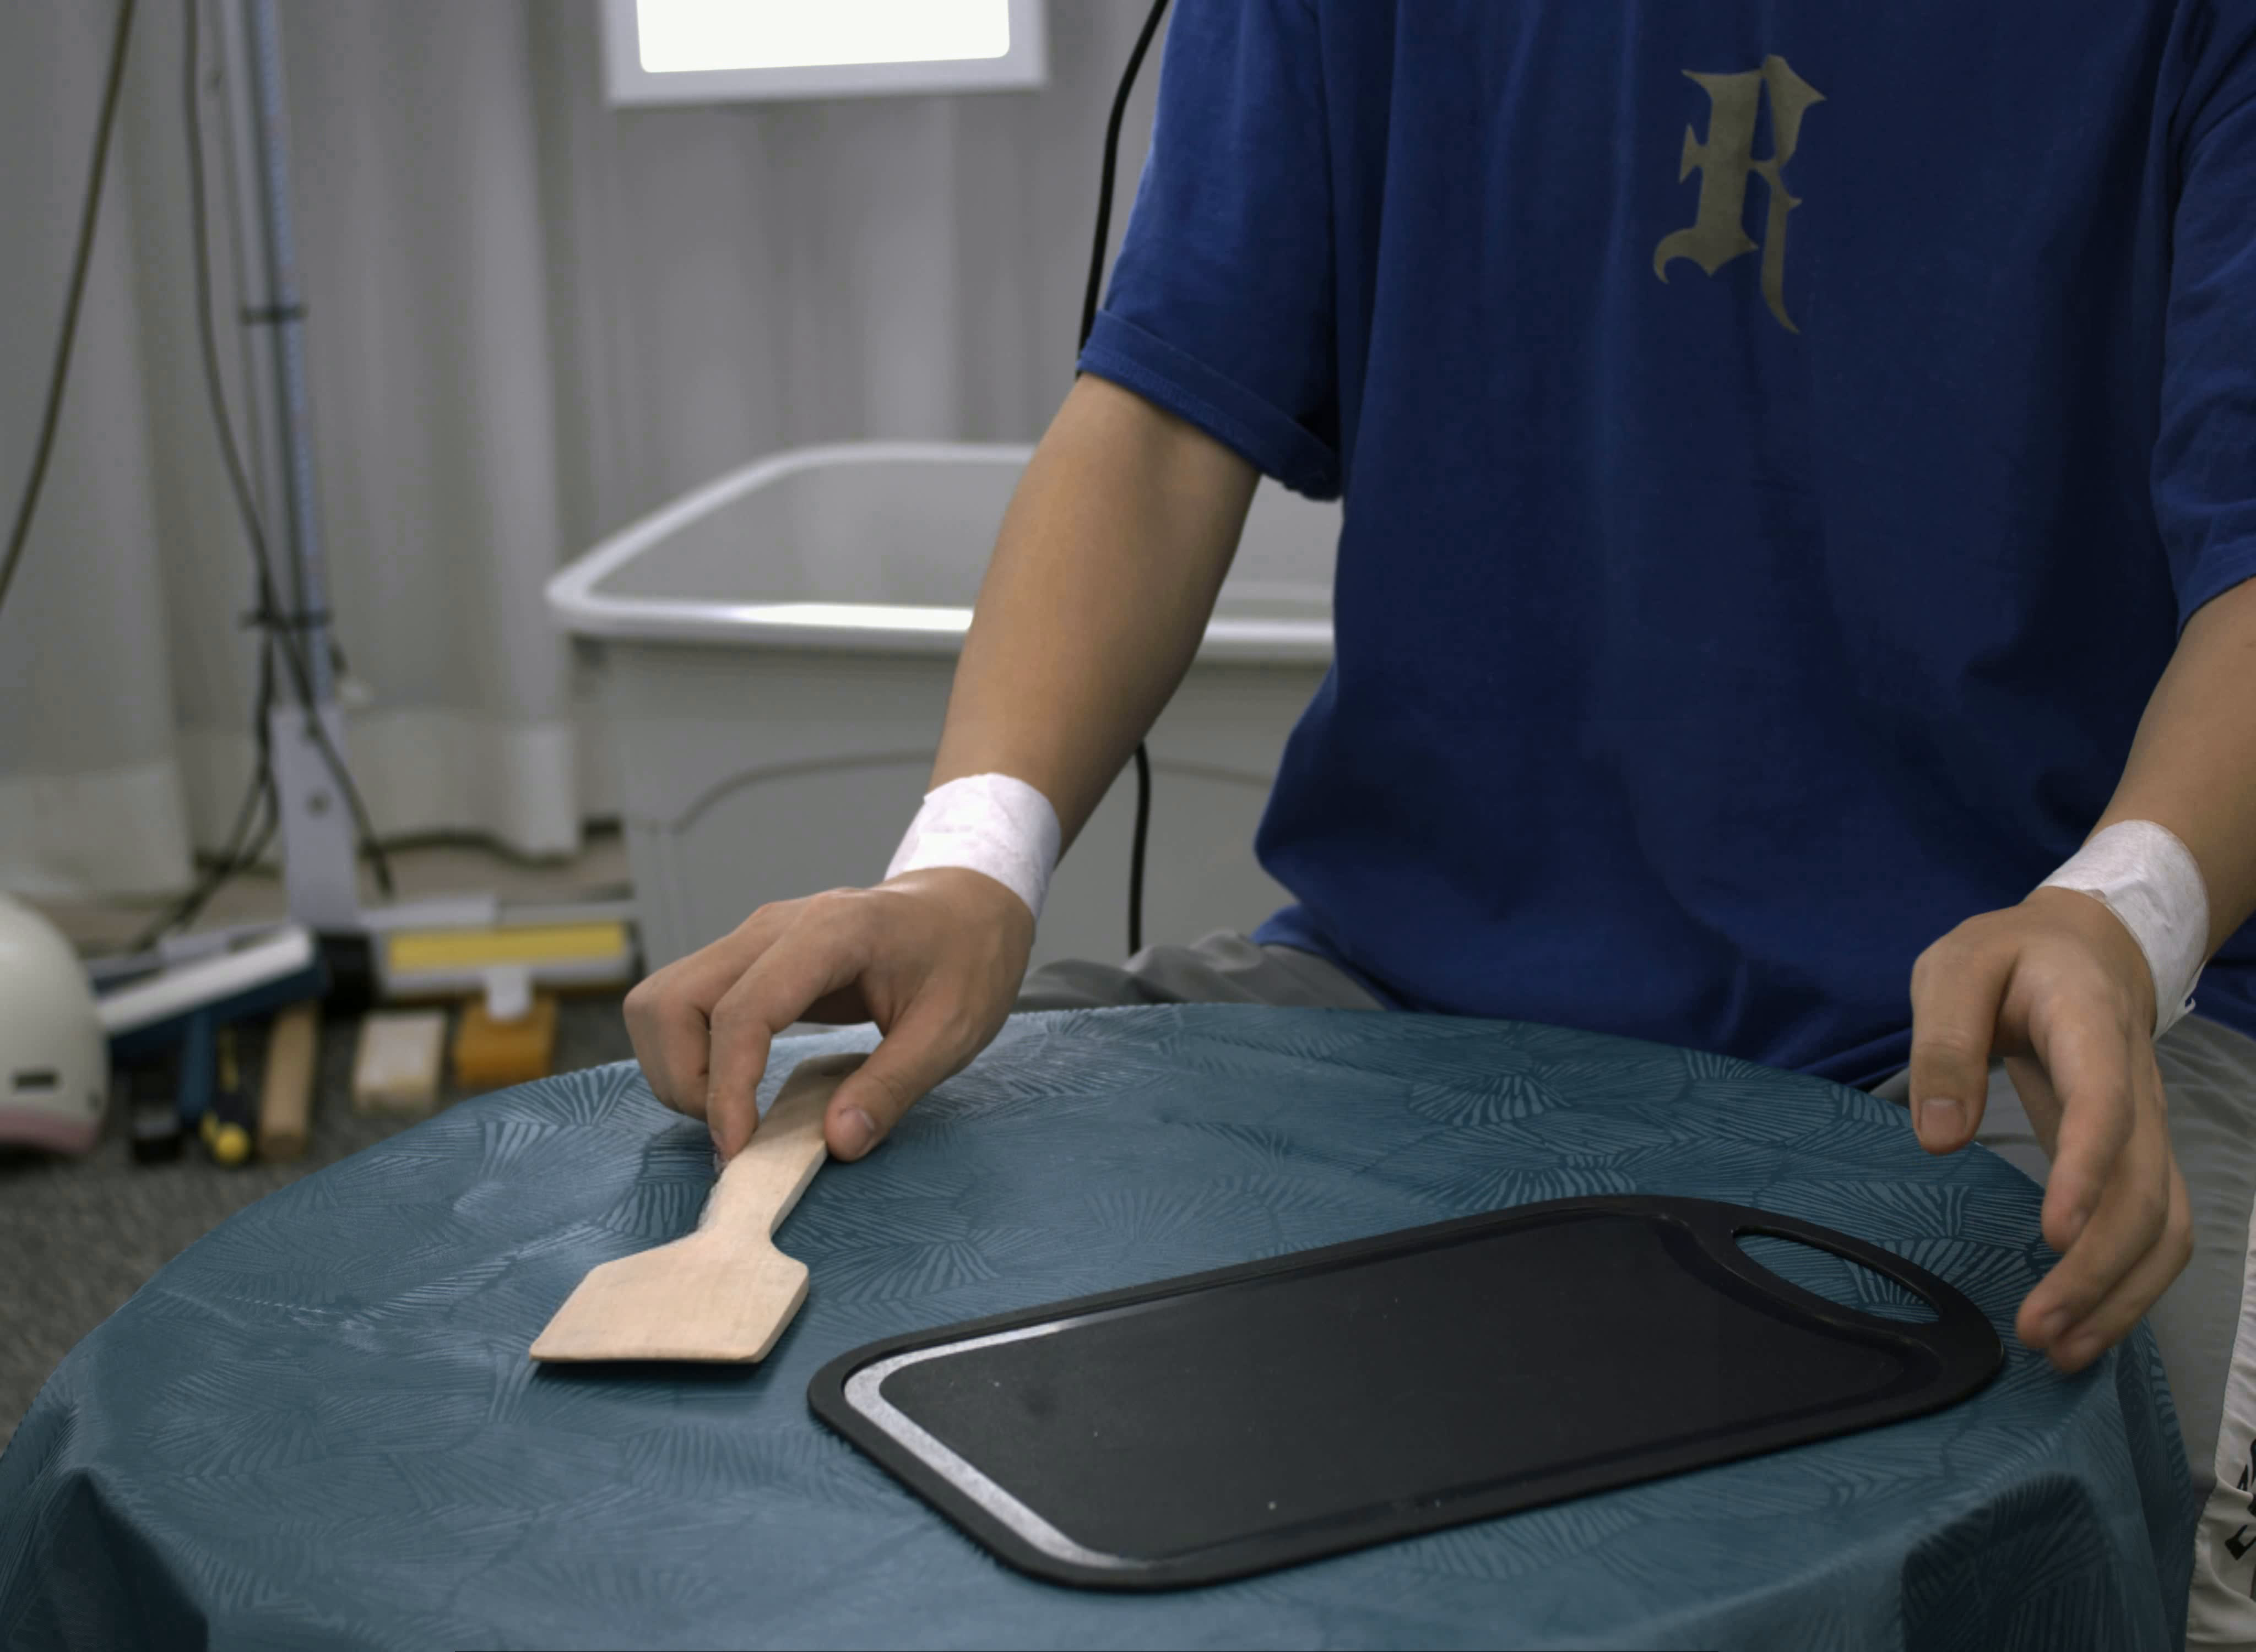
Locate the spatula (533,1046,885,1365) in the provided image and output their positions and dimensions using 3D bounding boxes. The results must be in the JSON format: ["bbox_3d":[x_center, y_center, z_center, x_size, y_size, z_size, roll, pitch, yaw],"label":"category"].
[{"bbox_3d":[-0.117,0.117,1.707,0.072,0.010,0.294,-2,15,9],"label":"spatula"}]

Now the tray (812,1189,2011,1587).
[{"bbox_3d":[0.085,0.151,1.540,0.324,0.010,0.213,-10,16,-24],"label":"tray"}]
